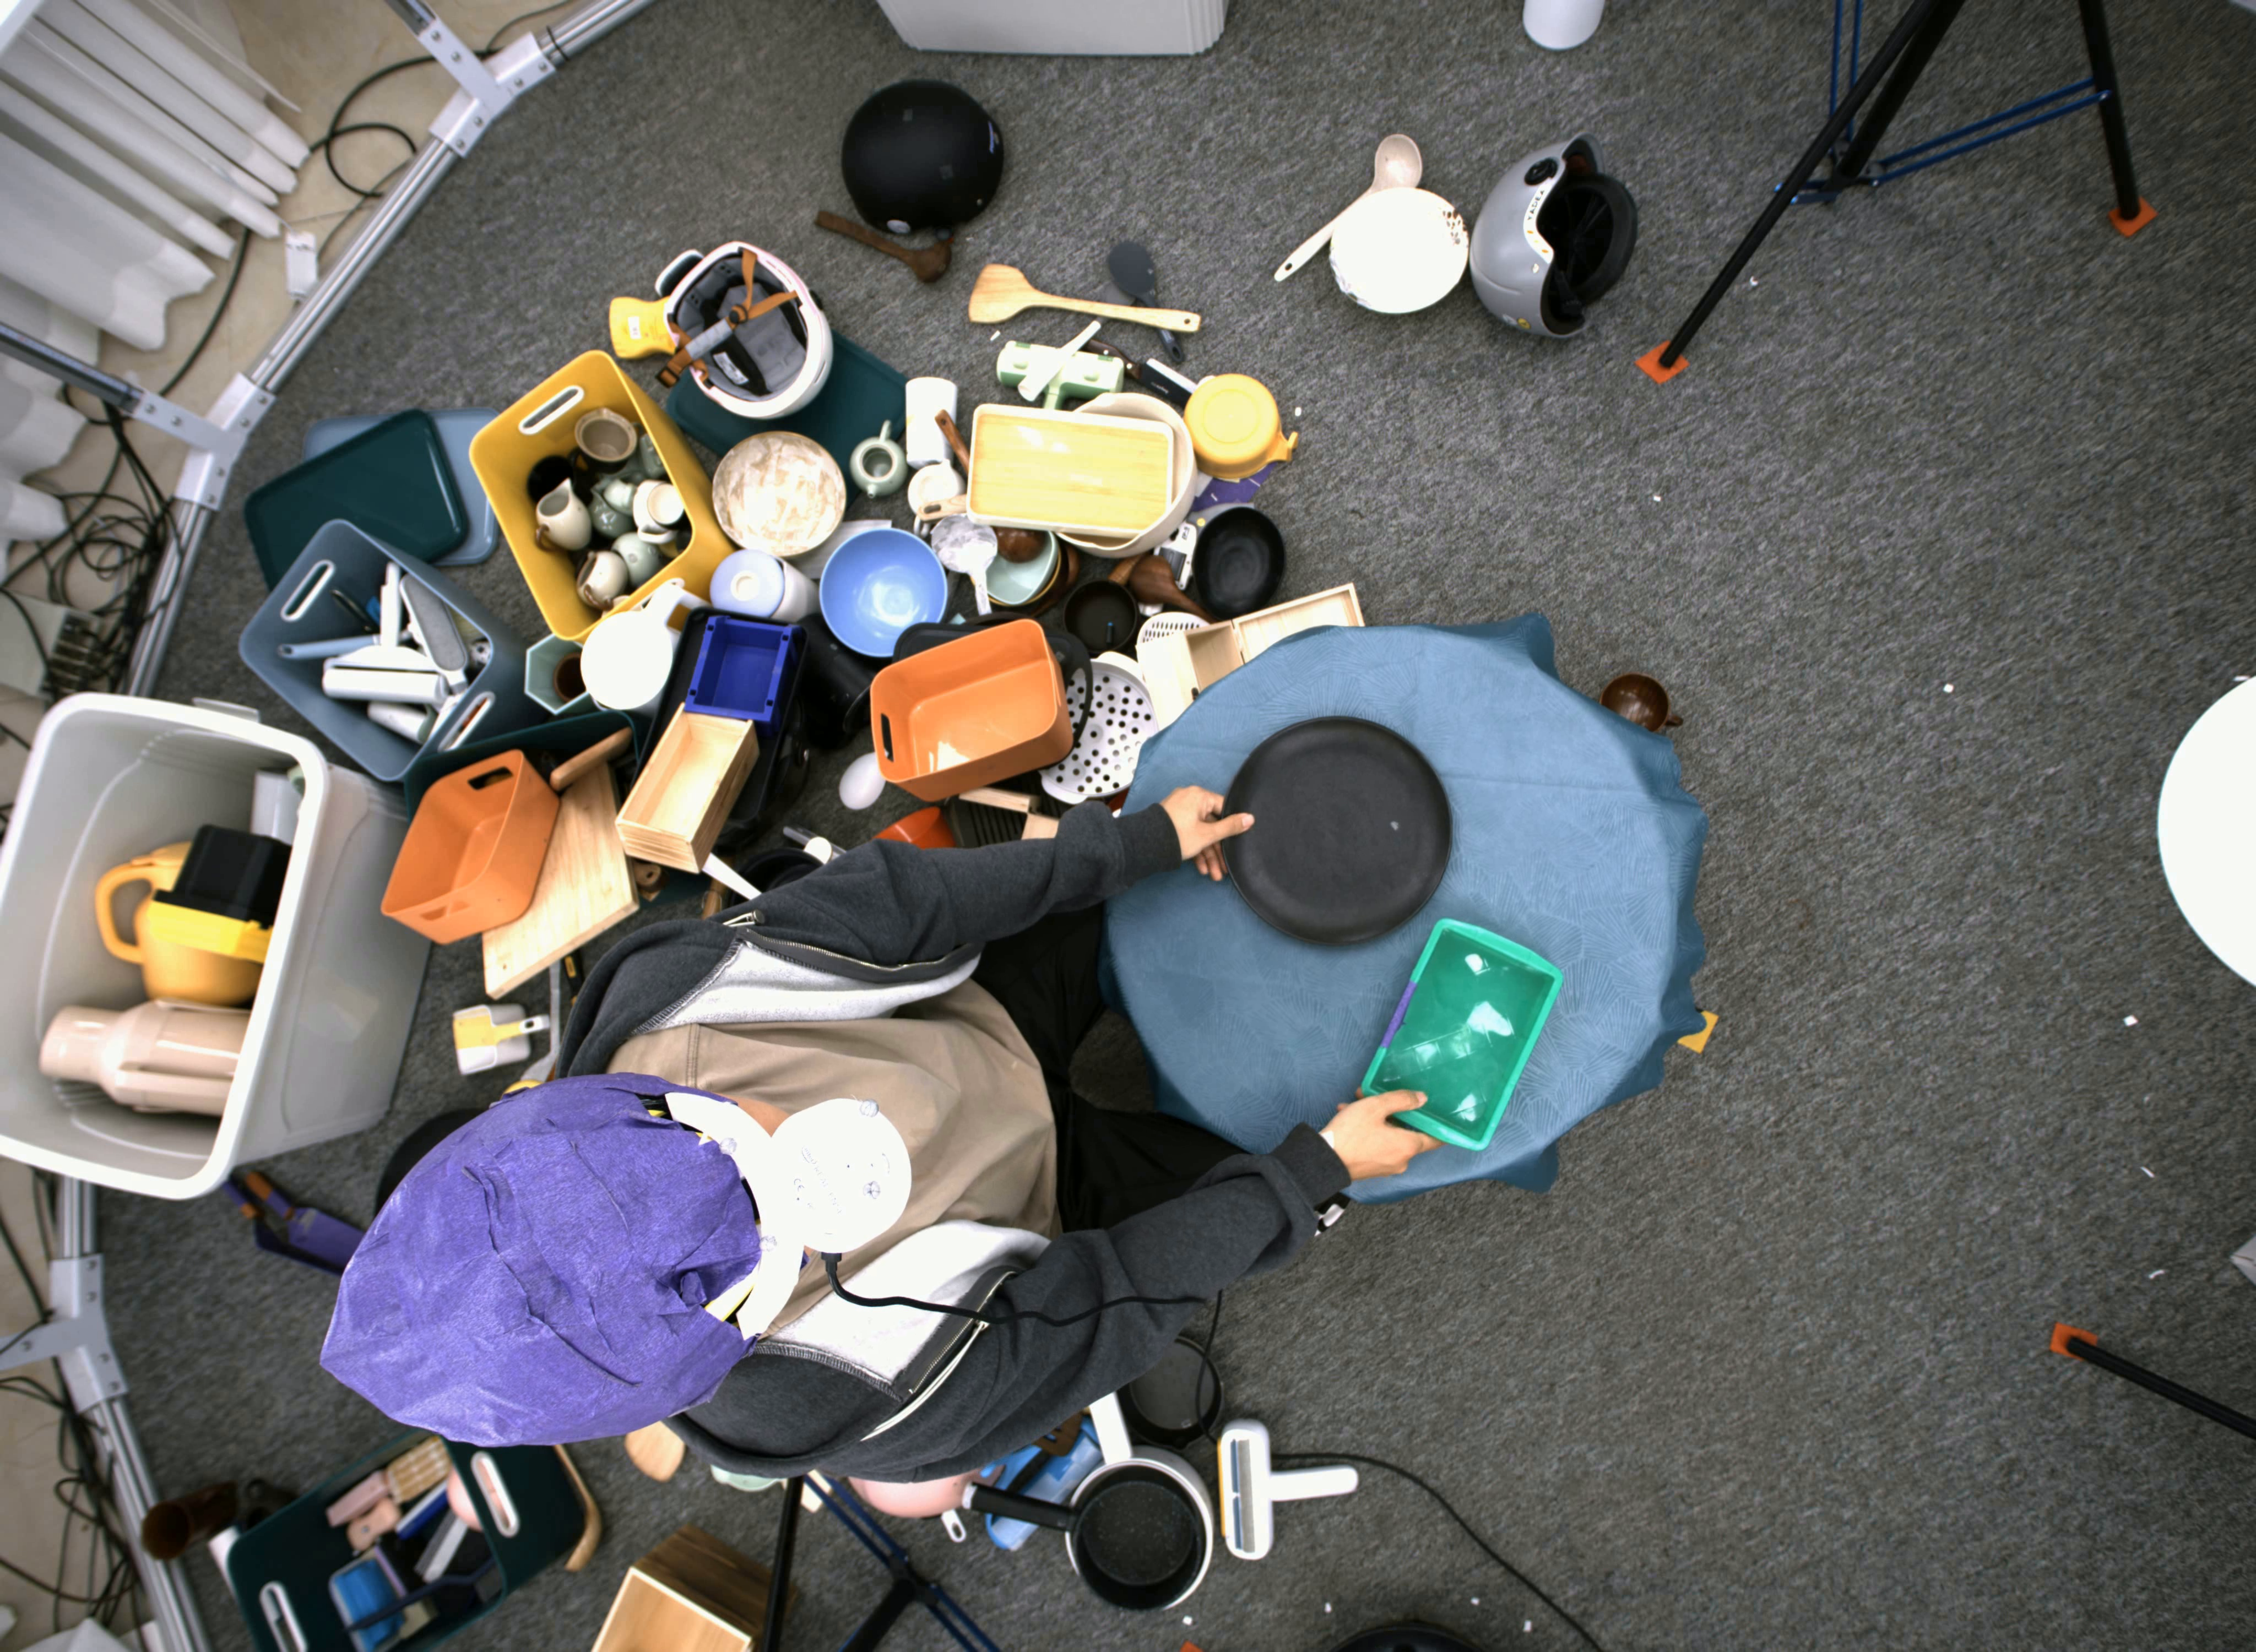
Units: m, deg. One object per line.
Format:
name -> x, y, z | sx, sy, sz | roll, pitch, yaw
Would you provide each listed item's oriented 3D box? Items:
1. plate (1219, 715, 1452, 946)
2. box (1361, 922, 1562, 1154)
plate -> 0.218, 0.004, 1.460 | 0.245, 0.023, 0.243 | -1, 87, 9
box -> 0.338, 0.212, 1.407 | 0.138, 0.065, 0.211 | 24, 93, 13
